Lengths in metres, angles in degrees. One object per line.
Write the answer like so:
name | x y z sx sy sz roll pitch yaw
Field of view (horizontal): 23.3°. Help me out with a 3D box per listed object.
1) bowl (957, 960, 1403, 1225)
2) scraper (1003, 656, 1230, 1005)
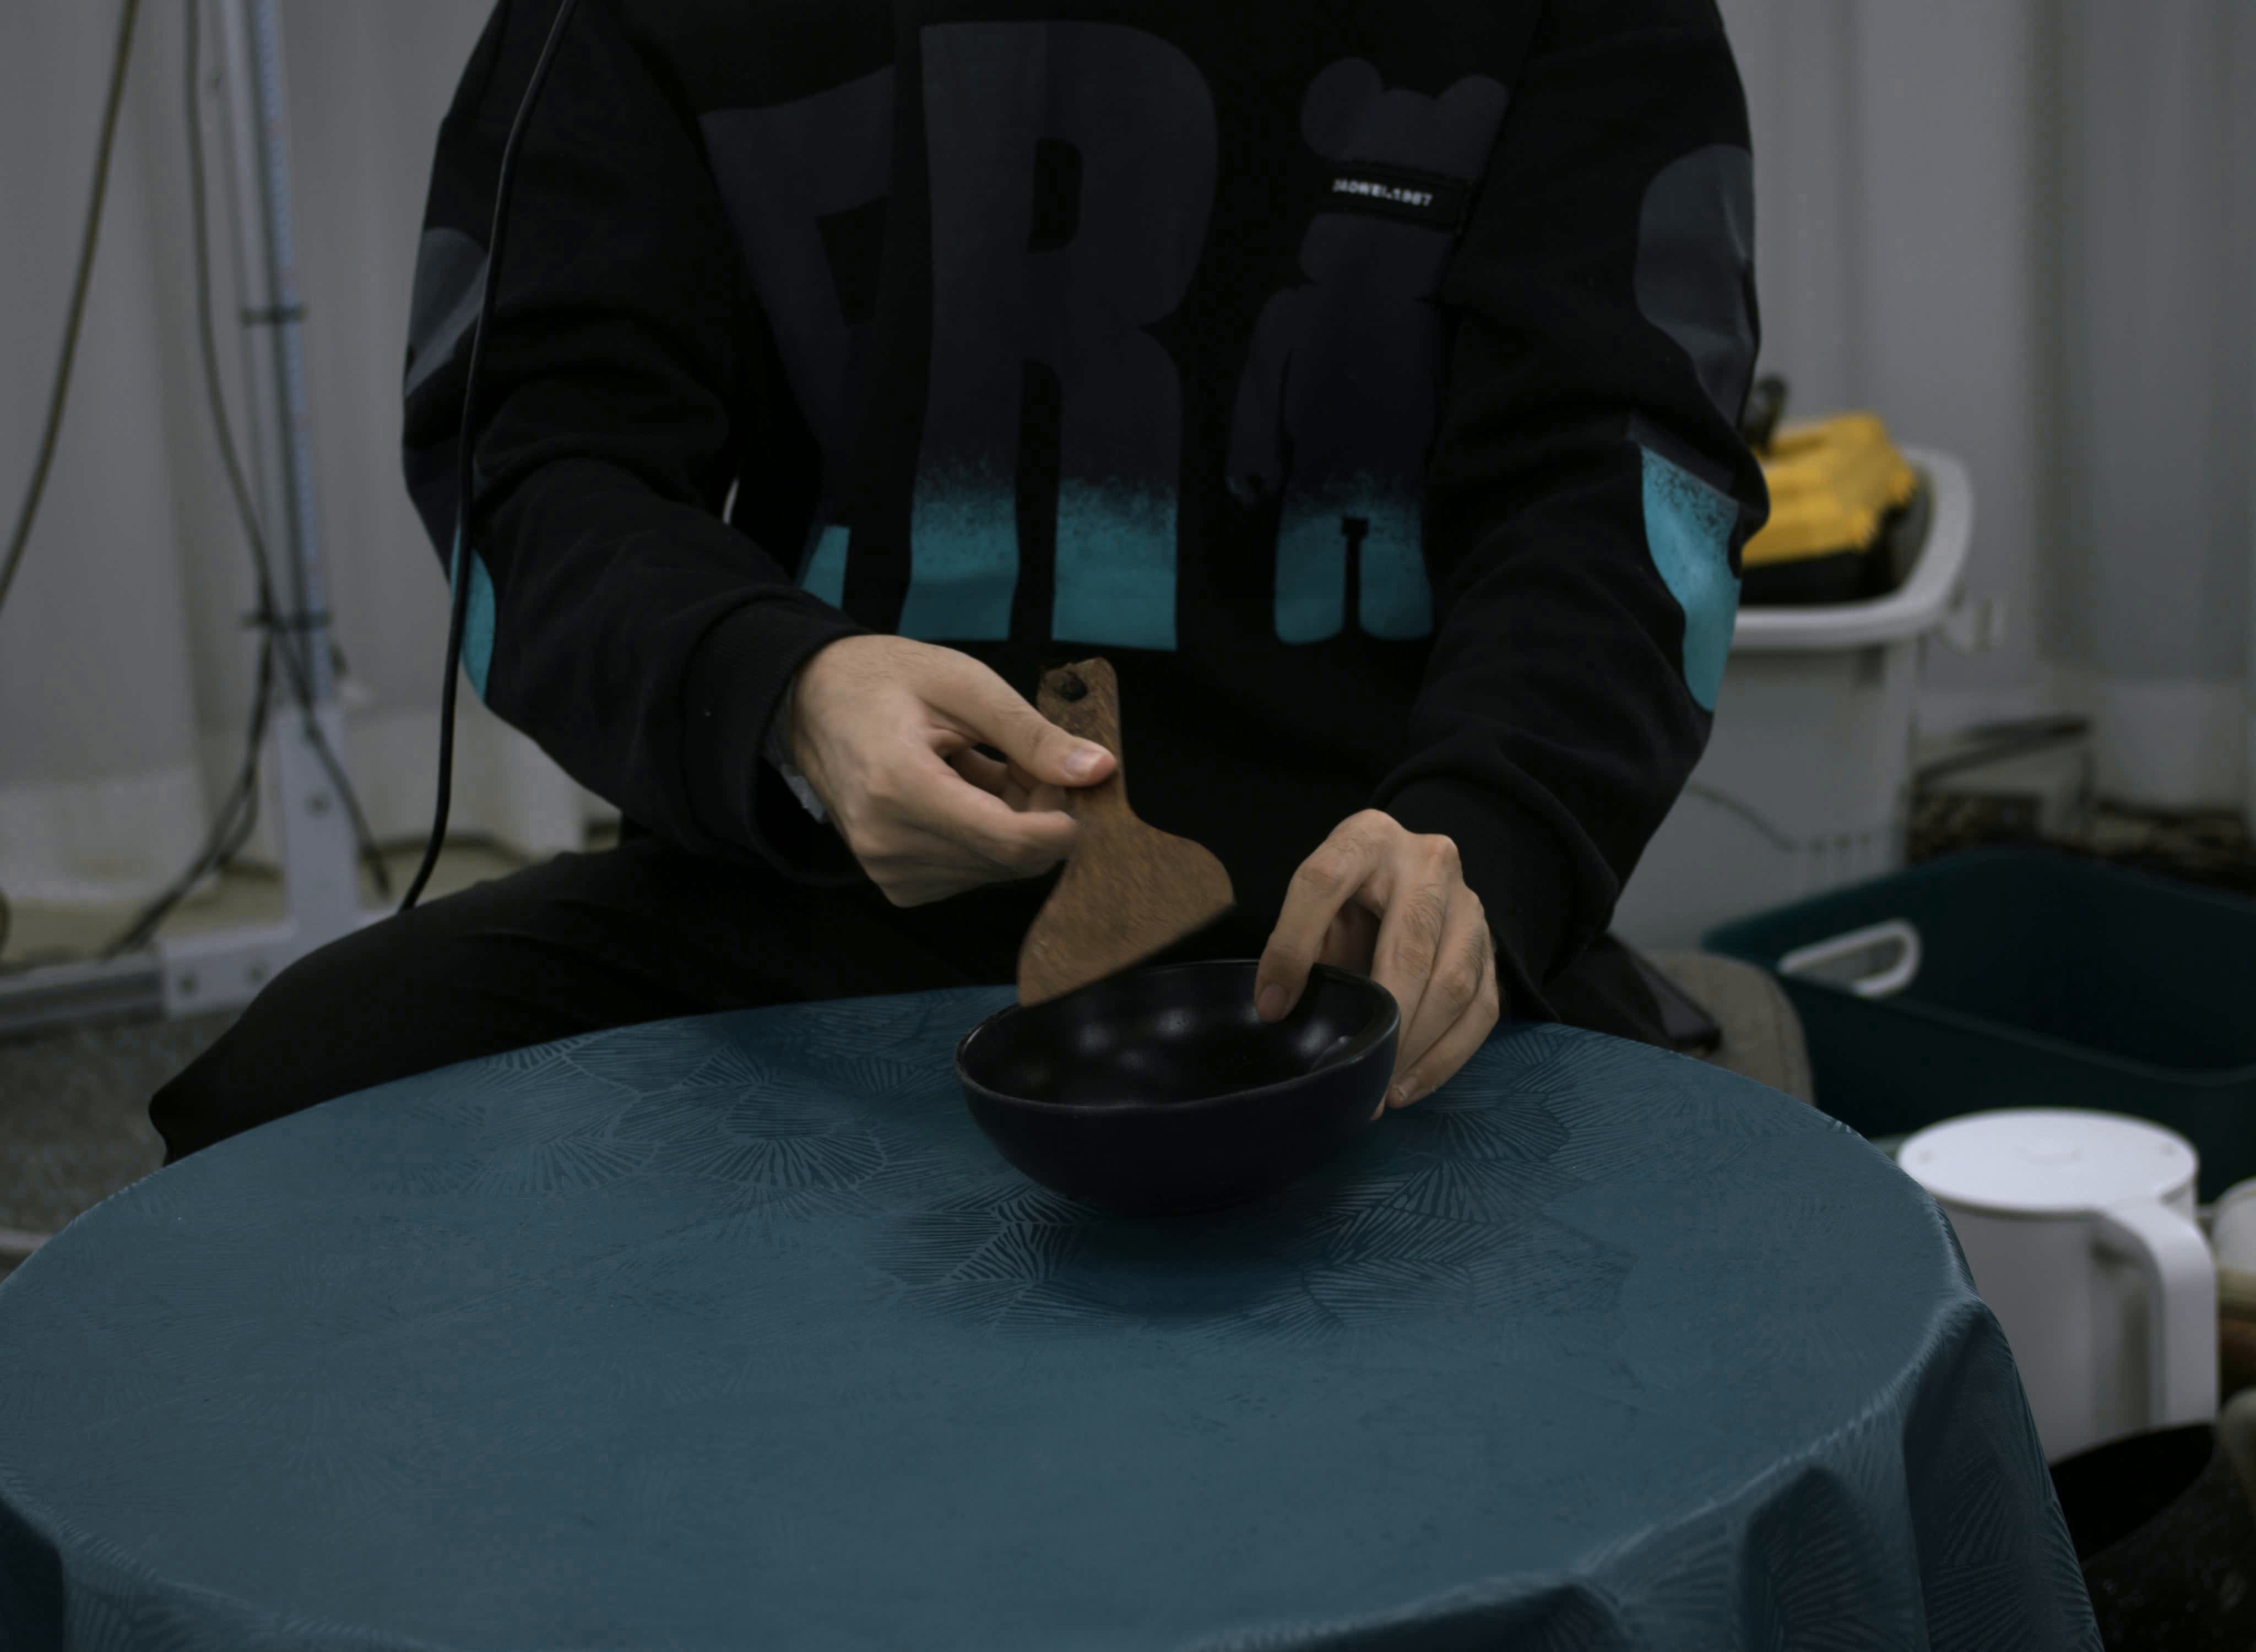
bowl | 0.019 0.087 1.680 0.139 0.049 0.141 -9 15 2
scraper | -0.010 -0.004 1.744 0.075 0.011 0.214 -26 26 8
